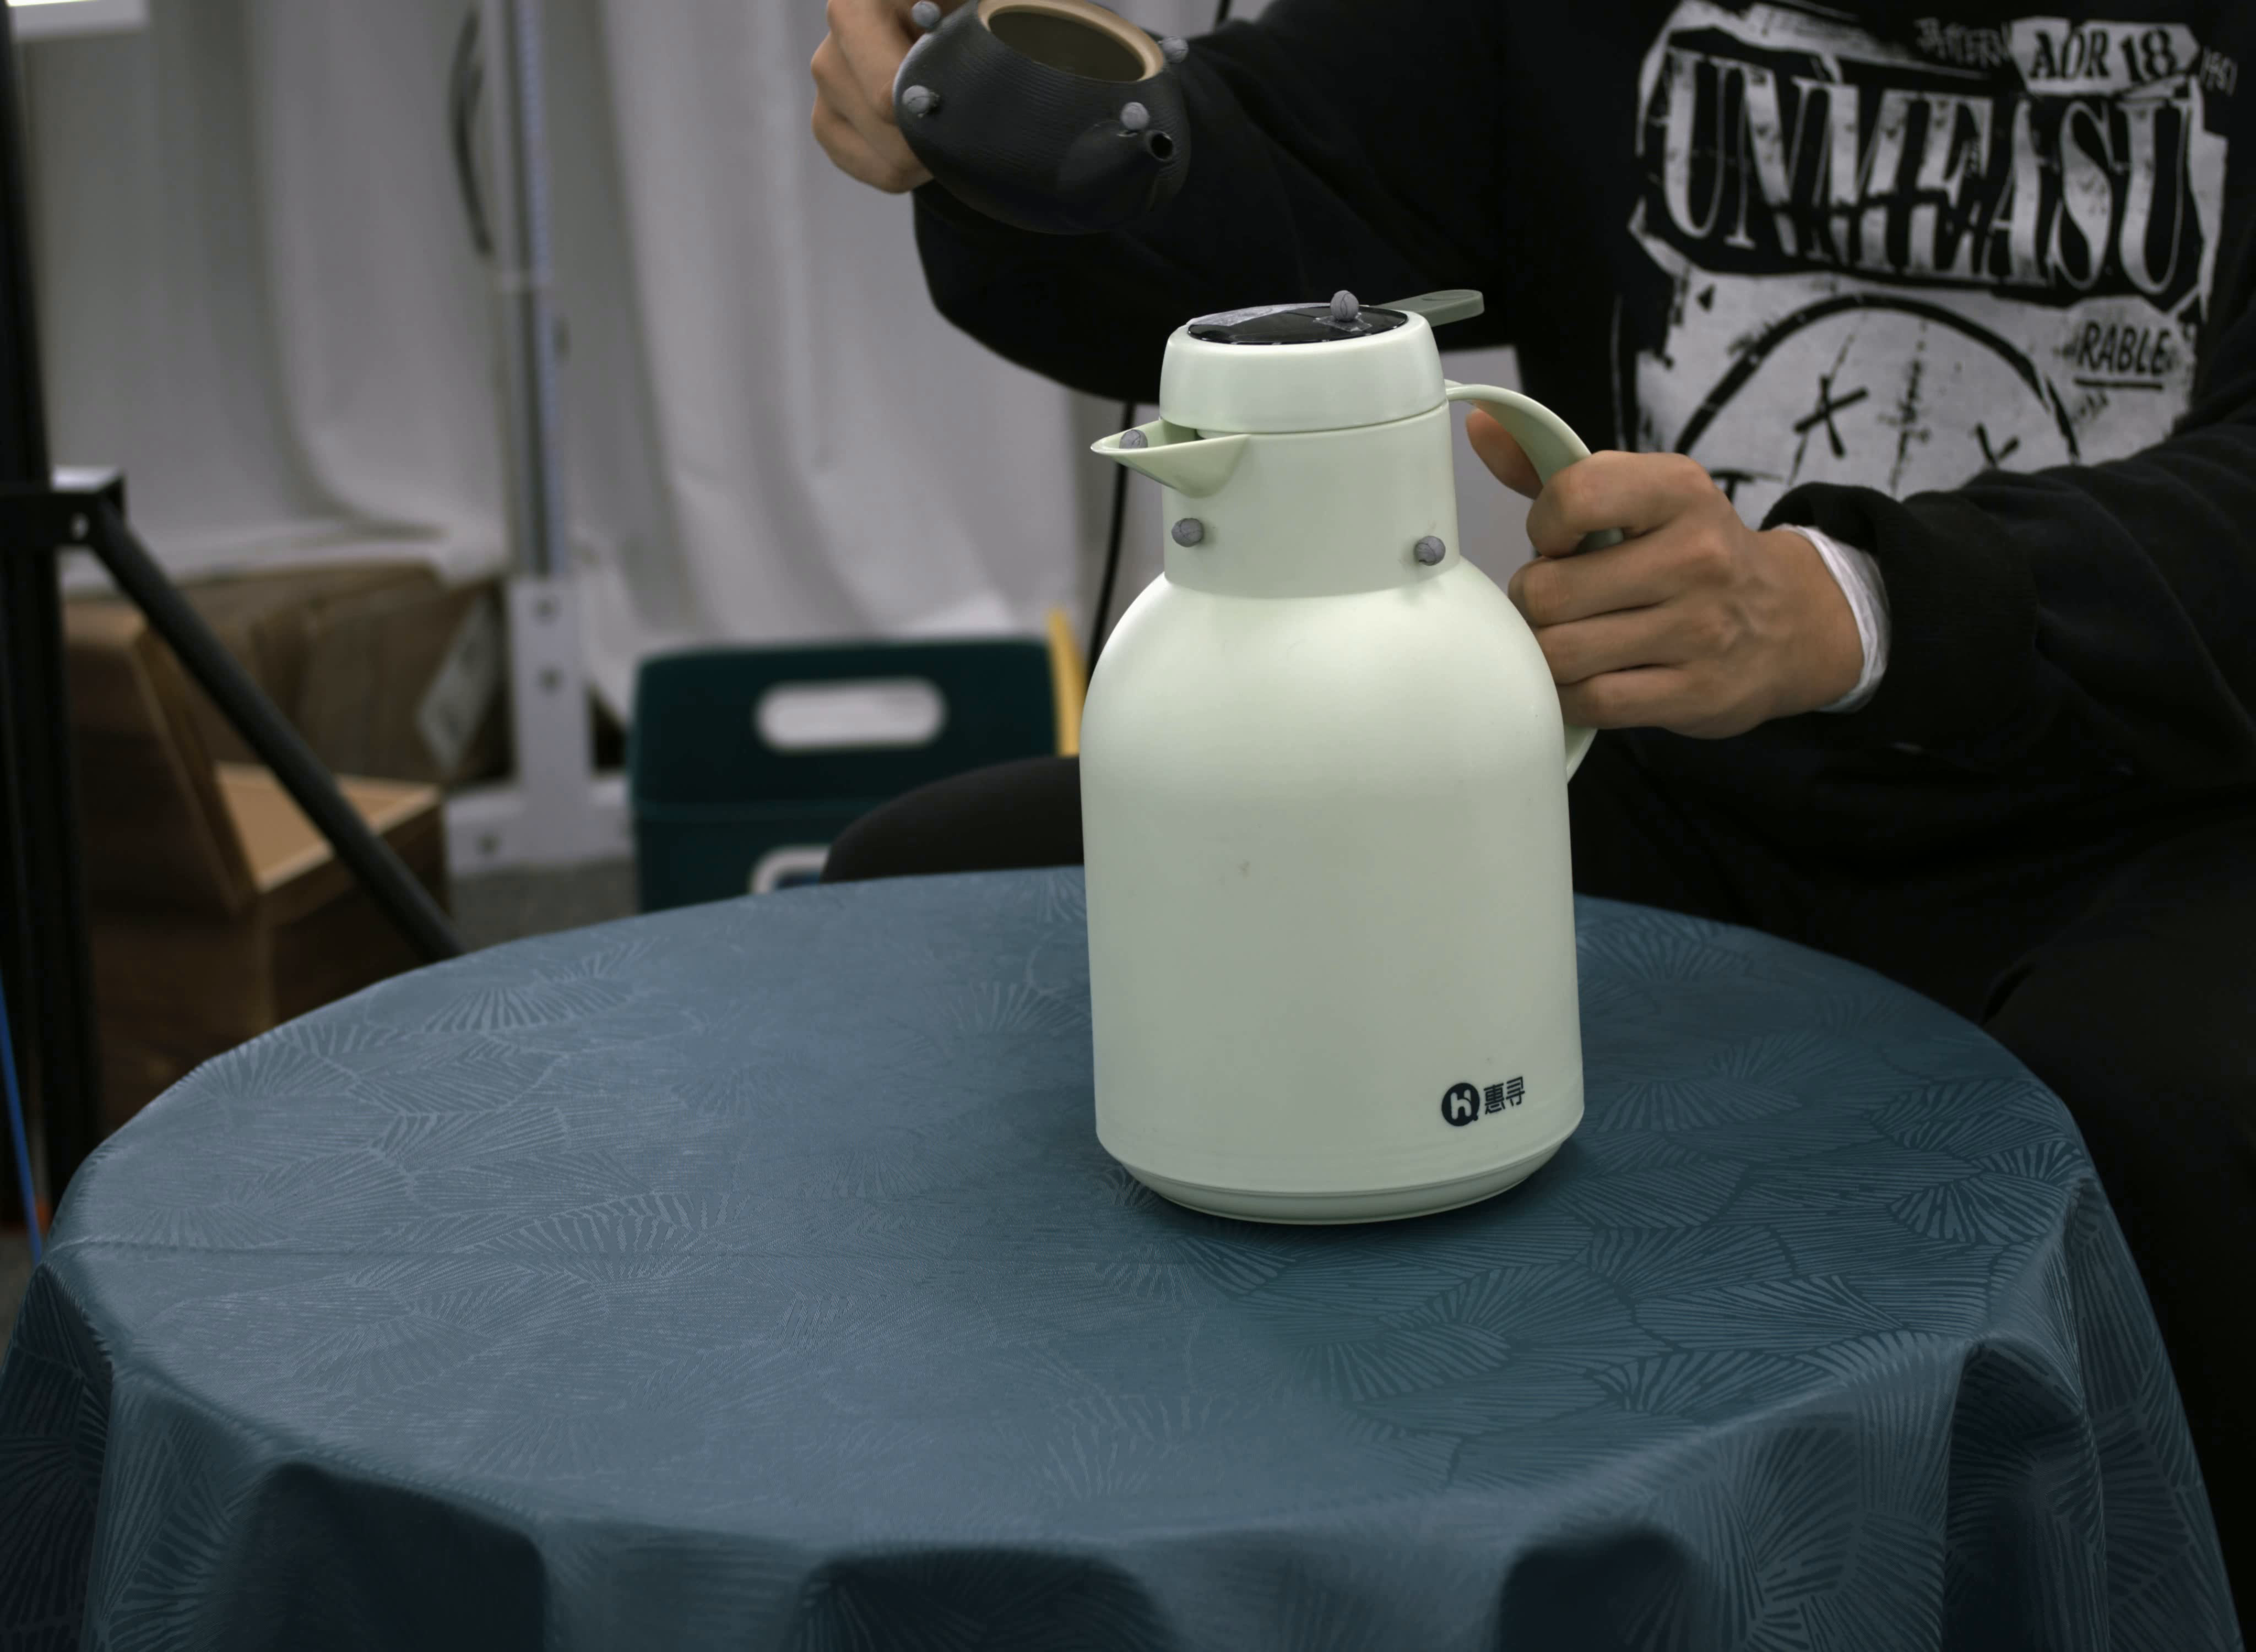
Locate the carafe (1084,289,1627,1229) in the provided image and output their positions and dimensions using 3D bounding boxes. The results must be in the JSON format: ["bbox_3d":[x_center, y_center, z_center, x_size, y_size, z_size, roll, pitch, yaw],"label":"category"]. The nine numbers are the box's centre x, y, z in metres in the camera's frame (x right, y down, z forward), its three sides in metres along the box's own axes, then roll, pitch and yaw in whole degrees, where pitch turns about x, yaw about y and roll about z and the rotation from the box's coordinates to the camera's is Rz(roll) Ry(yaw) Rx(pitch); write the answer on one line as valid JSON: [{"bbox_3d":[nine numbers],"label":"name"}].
[{"bbox_3d":[0.069,-0.023,1.544,0.182,0.257,0.147,-9,12,-36],"label":"carafe"}]

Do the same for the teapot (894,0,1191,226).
[{"bbox_3d":[-0.024,-0.213,1.579,0.089,0.053,0.136,0,35,-31],"label":"teapot"}]
